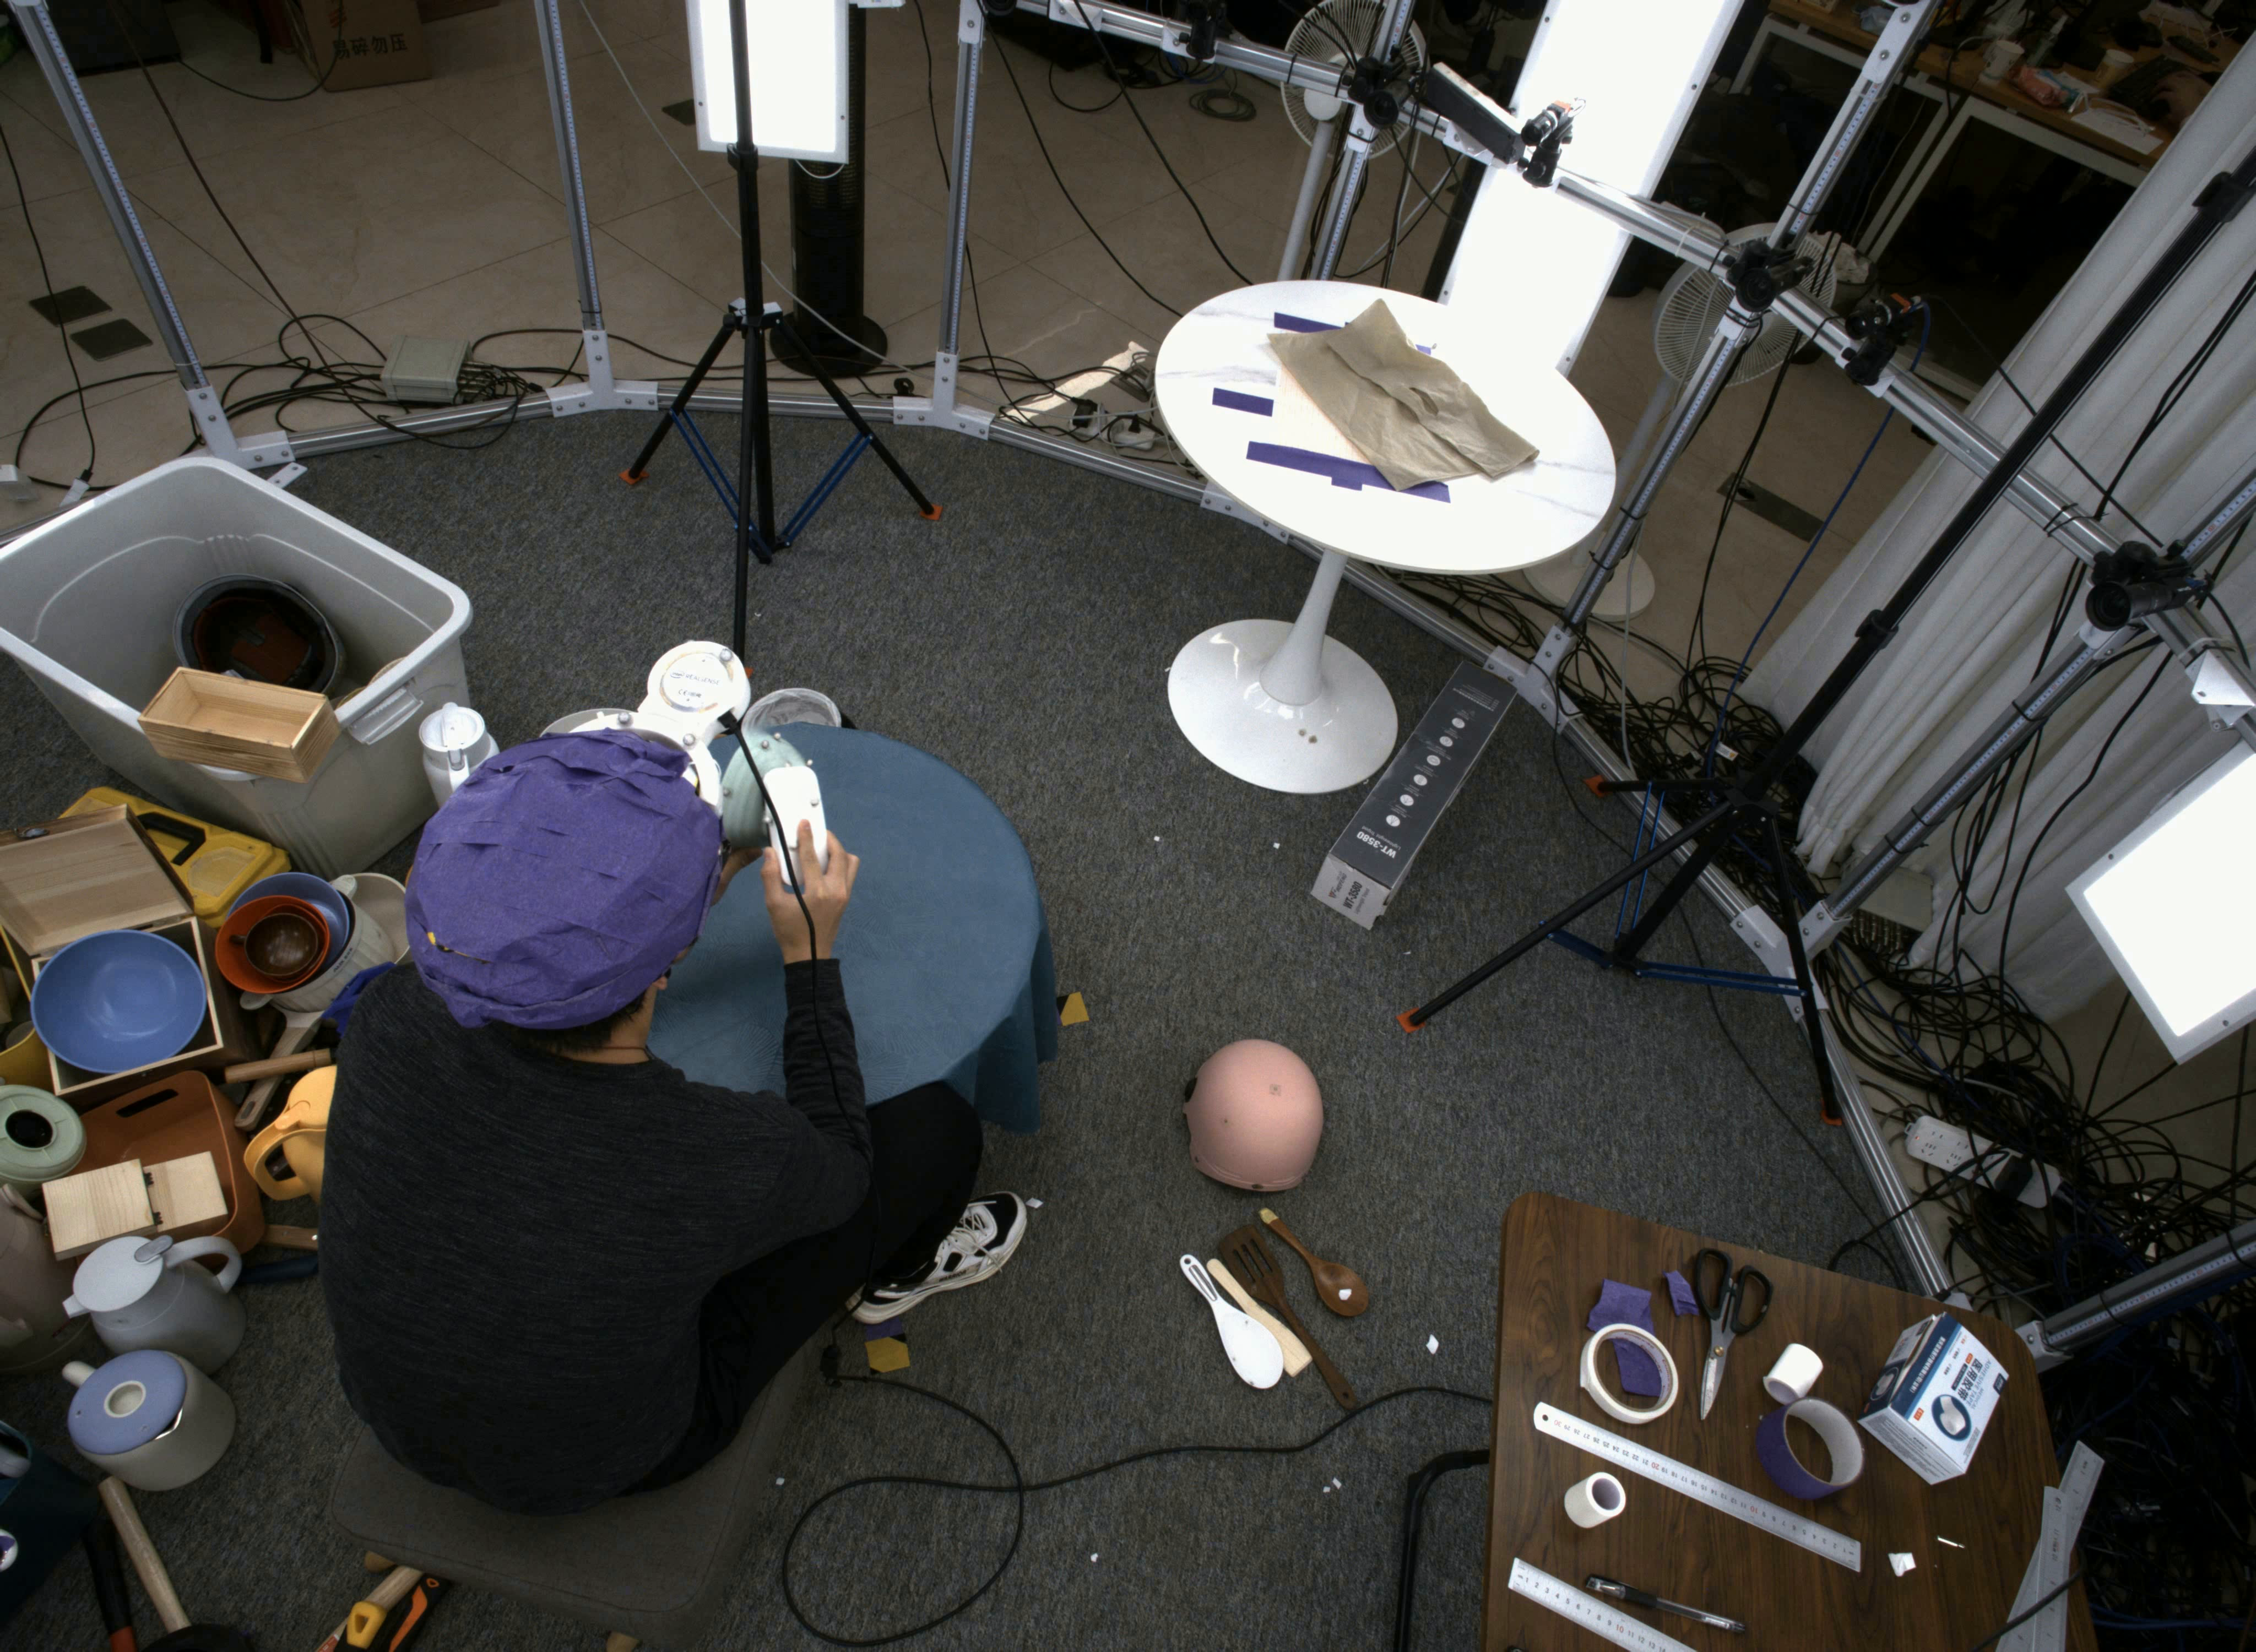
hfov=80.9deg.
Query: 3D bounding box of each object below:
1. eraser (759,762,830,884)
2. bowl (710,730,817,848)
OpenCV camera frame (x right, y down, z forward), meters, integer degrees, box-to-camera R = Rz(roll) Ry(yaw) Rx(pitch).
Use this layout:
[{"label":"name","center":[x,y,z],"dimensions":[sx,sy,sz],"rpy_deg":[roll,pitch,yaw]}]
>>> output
[{"label":"eraser","center":[-0.369,-0.004,1.428],"dimensions":[0.064,0.033,0.133],"rpy_deg":[-9,90,-44]},{"label":"bowl","center":[-0.408,-0.034,1.483],"dimensions":[0.057,0.156,0.151],"rpy_deg":[21,50,17]}]
